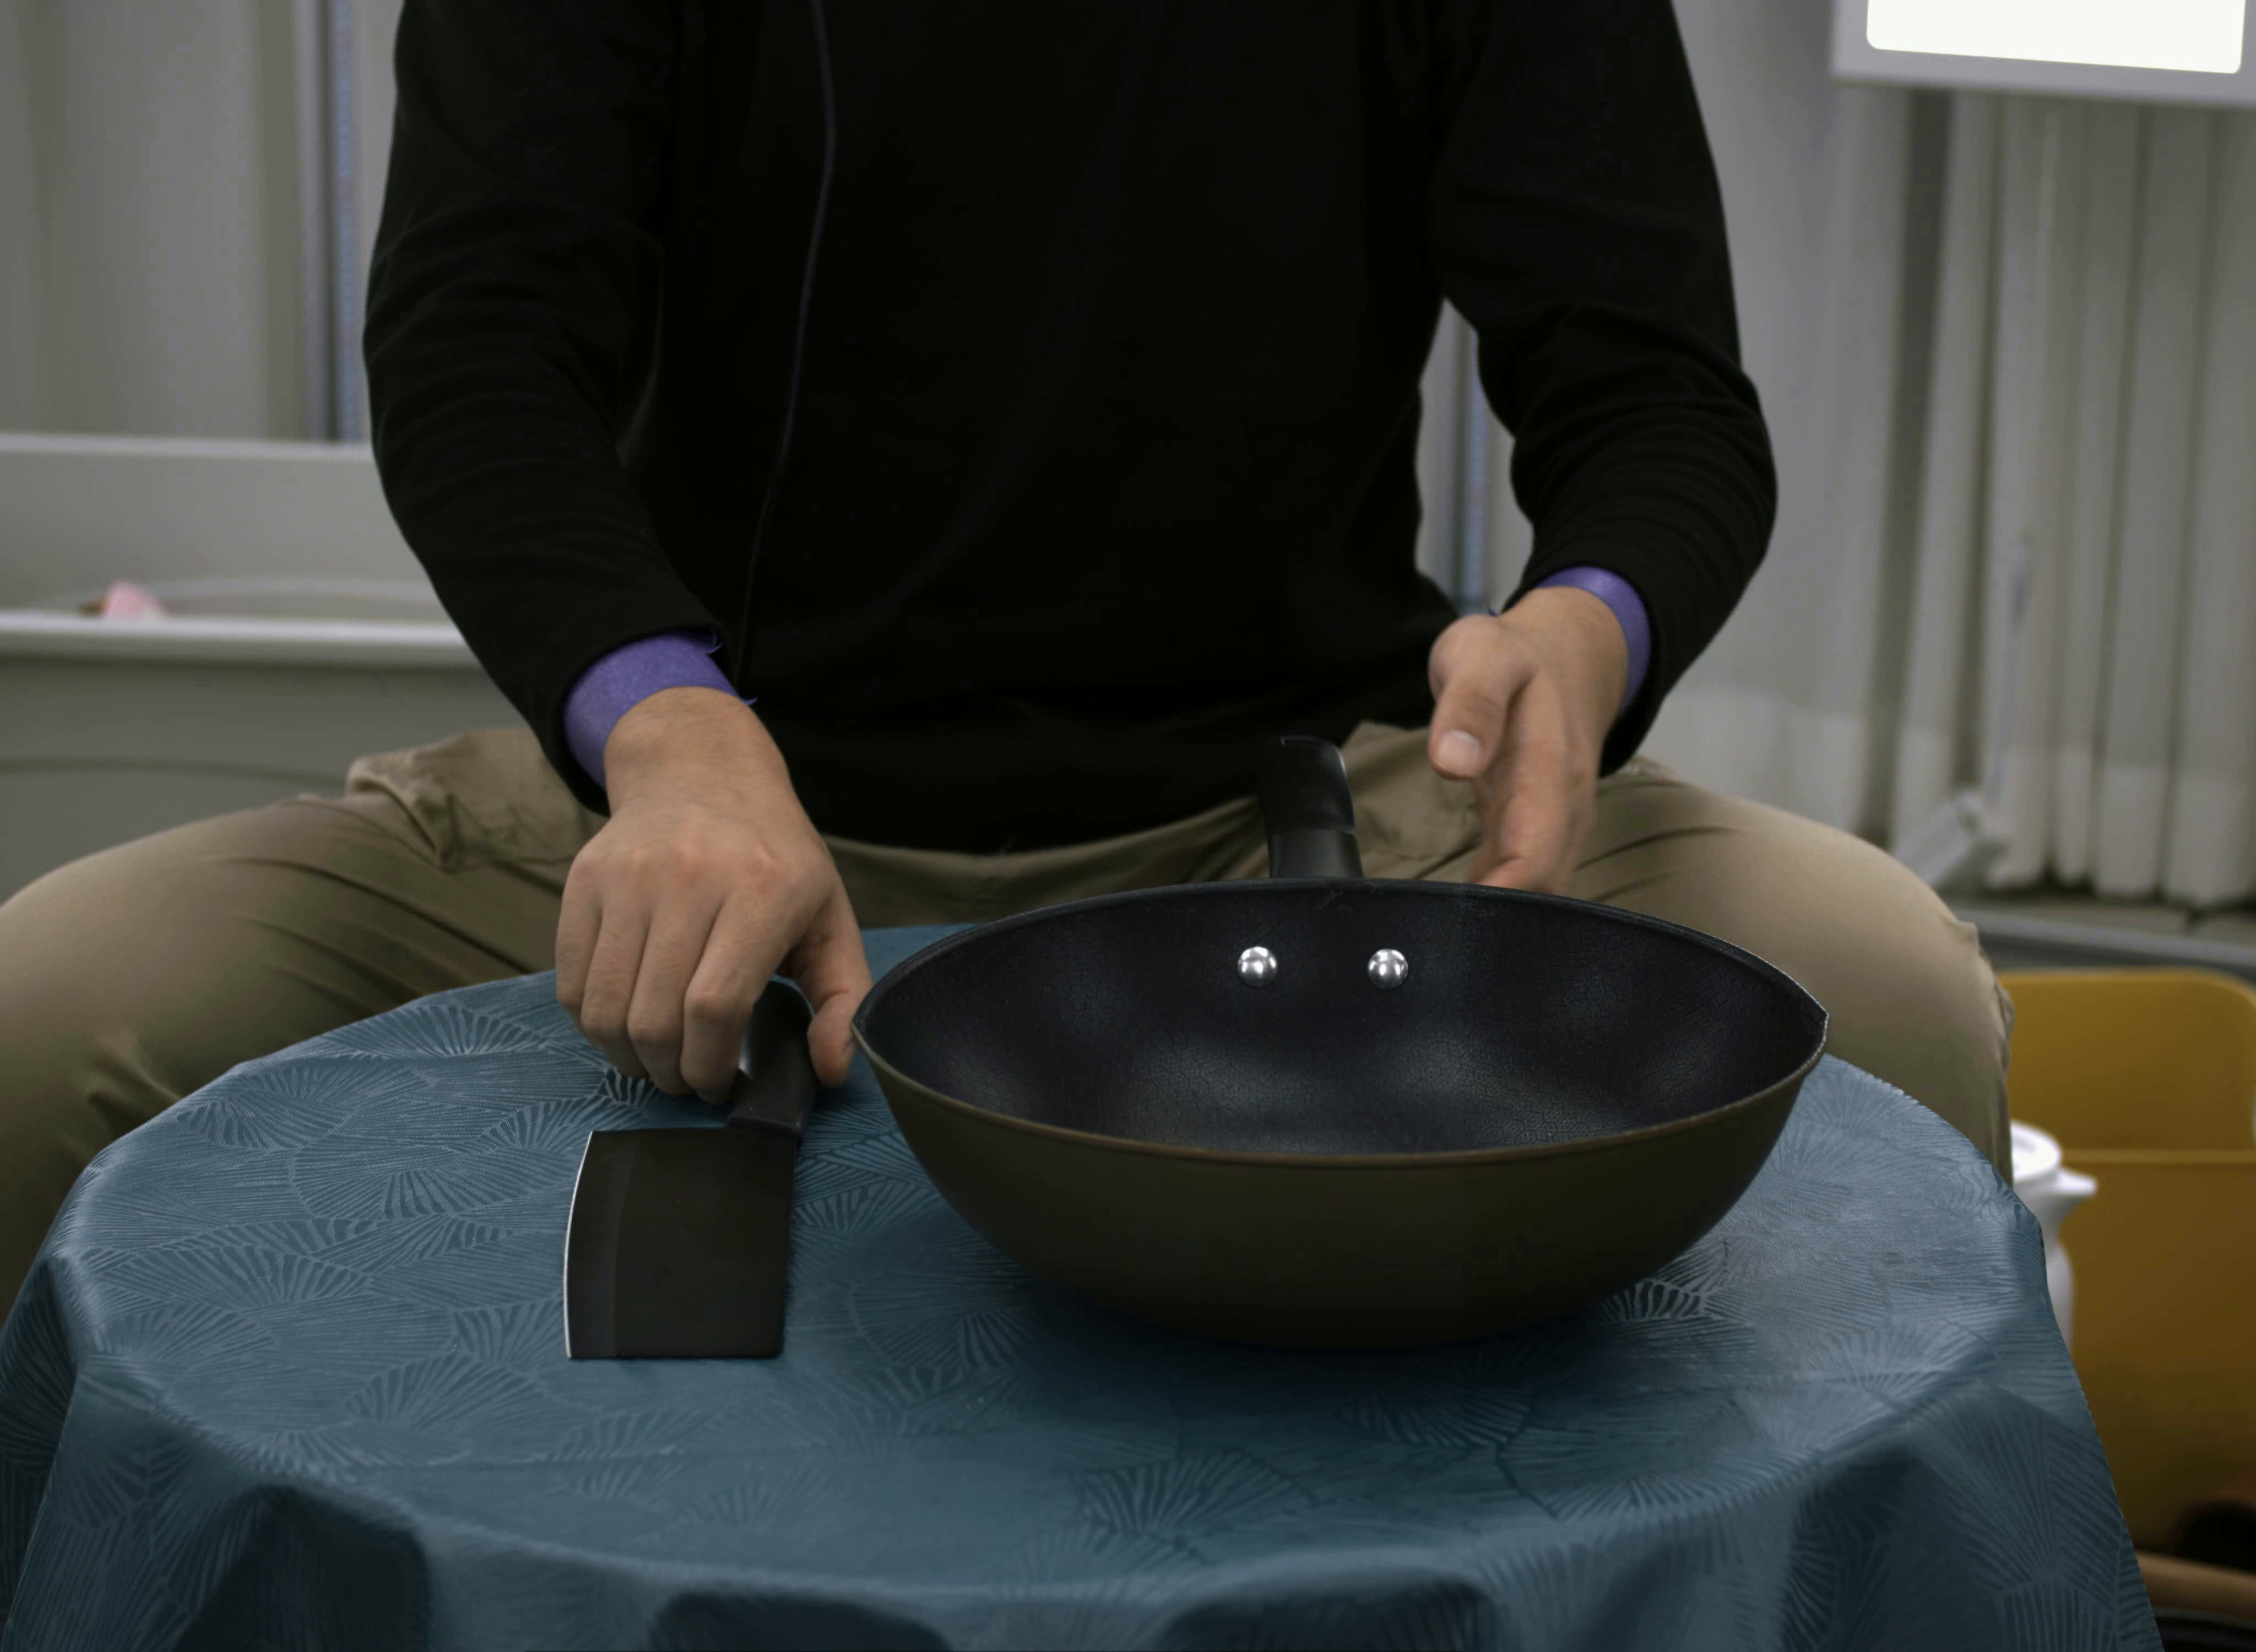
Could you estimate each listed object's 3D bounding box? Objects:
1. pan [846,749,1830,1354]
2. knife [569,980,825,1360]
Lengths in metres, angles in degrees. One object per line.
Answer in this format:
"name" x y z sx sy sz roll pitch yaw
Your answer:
"pan" 0.061 0.067 1.634 0.287 0.087 0.461 0 15 0
"knife" -0.129 0.104 1.621 0.080 0.021 0.301 2 18 2
